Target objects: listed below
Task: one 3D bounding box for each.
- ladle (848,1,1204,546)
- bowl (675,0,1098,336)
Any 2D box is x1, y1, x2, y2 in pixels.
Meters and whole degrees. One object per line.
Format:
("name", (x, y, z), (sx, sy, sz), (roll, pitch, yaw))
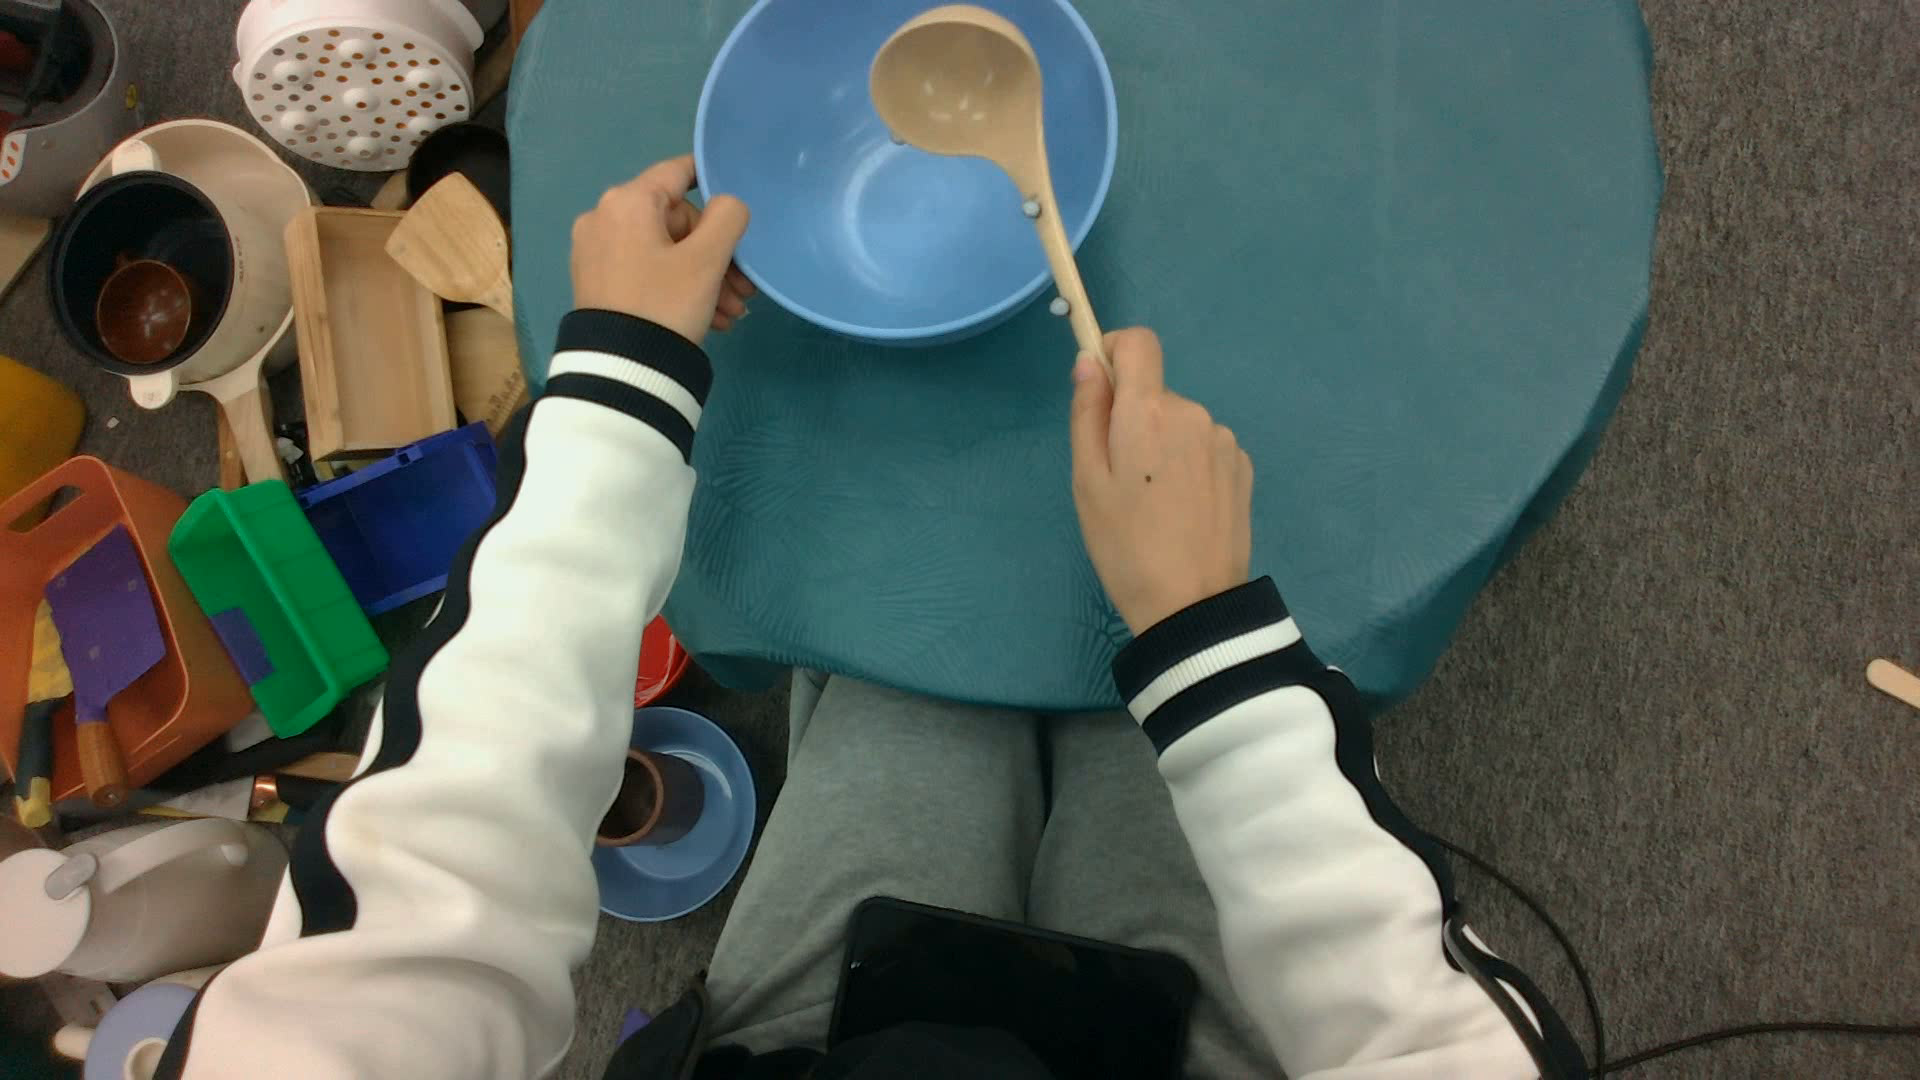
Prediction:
("ladle", (0.027, -0.109, 0.575), (0.072, 0.073, 0.255), (-32, 74, 34))
("bowl", (-0.031, -0.182, 0.677), (0.196, 0.095, 0.197), (-1, 76, 5))
